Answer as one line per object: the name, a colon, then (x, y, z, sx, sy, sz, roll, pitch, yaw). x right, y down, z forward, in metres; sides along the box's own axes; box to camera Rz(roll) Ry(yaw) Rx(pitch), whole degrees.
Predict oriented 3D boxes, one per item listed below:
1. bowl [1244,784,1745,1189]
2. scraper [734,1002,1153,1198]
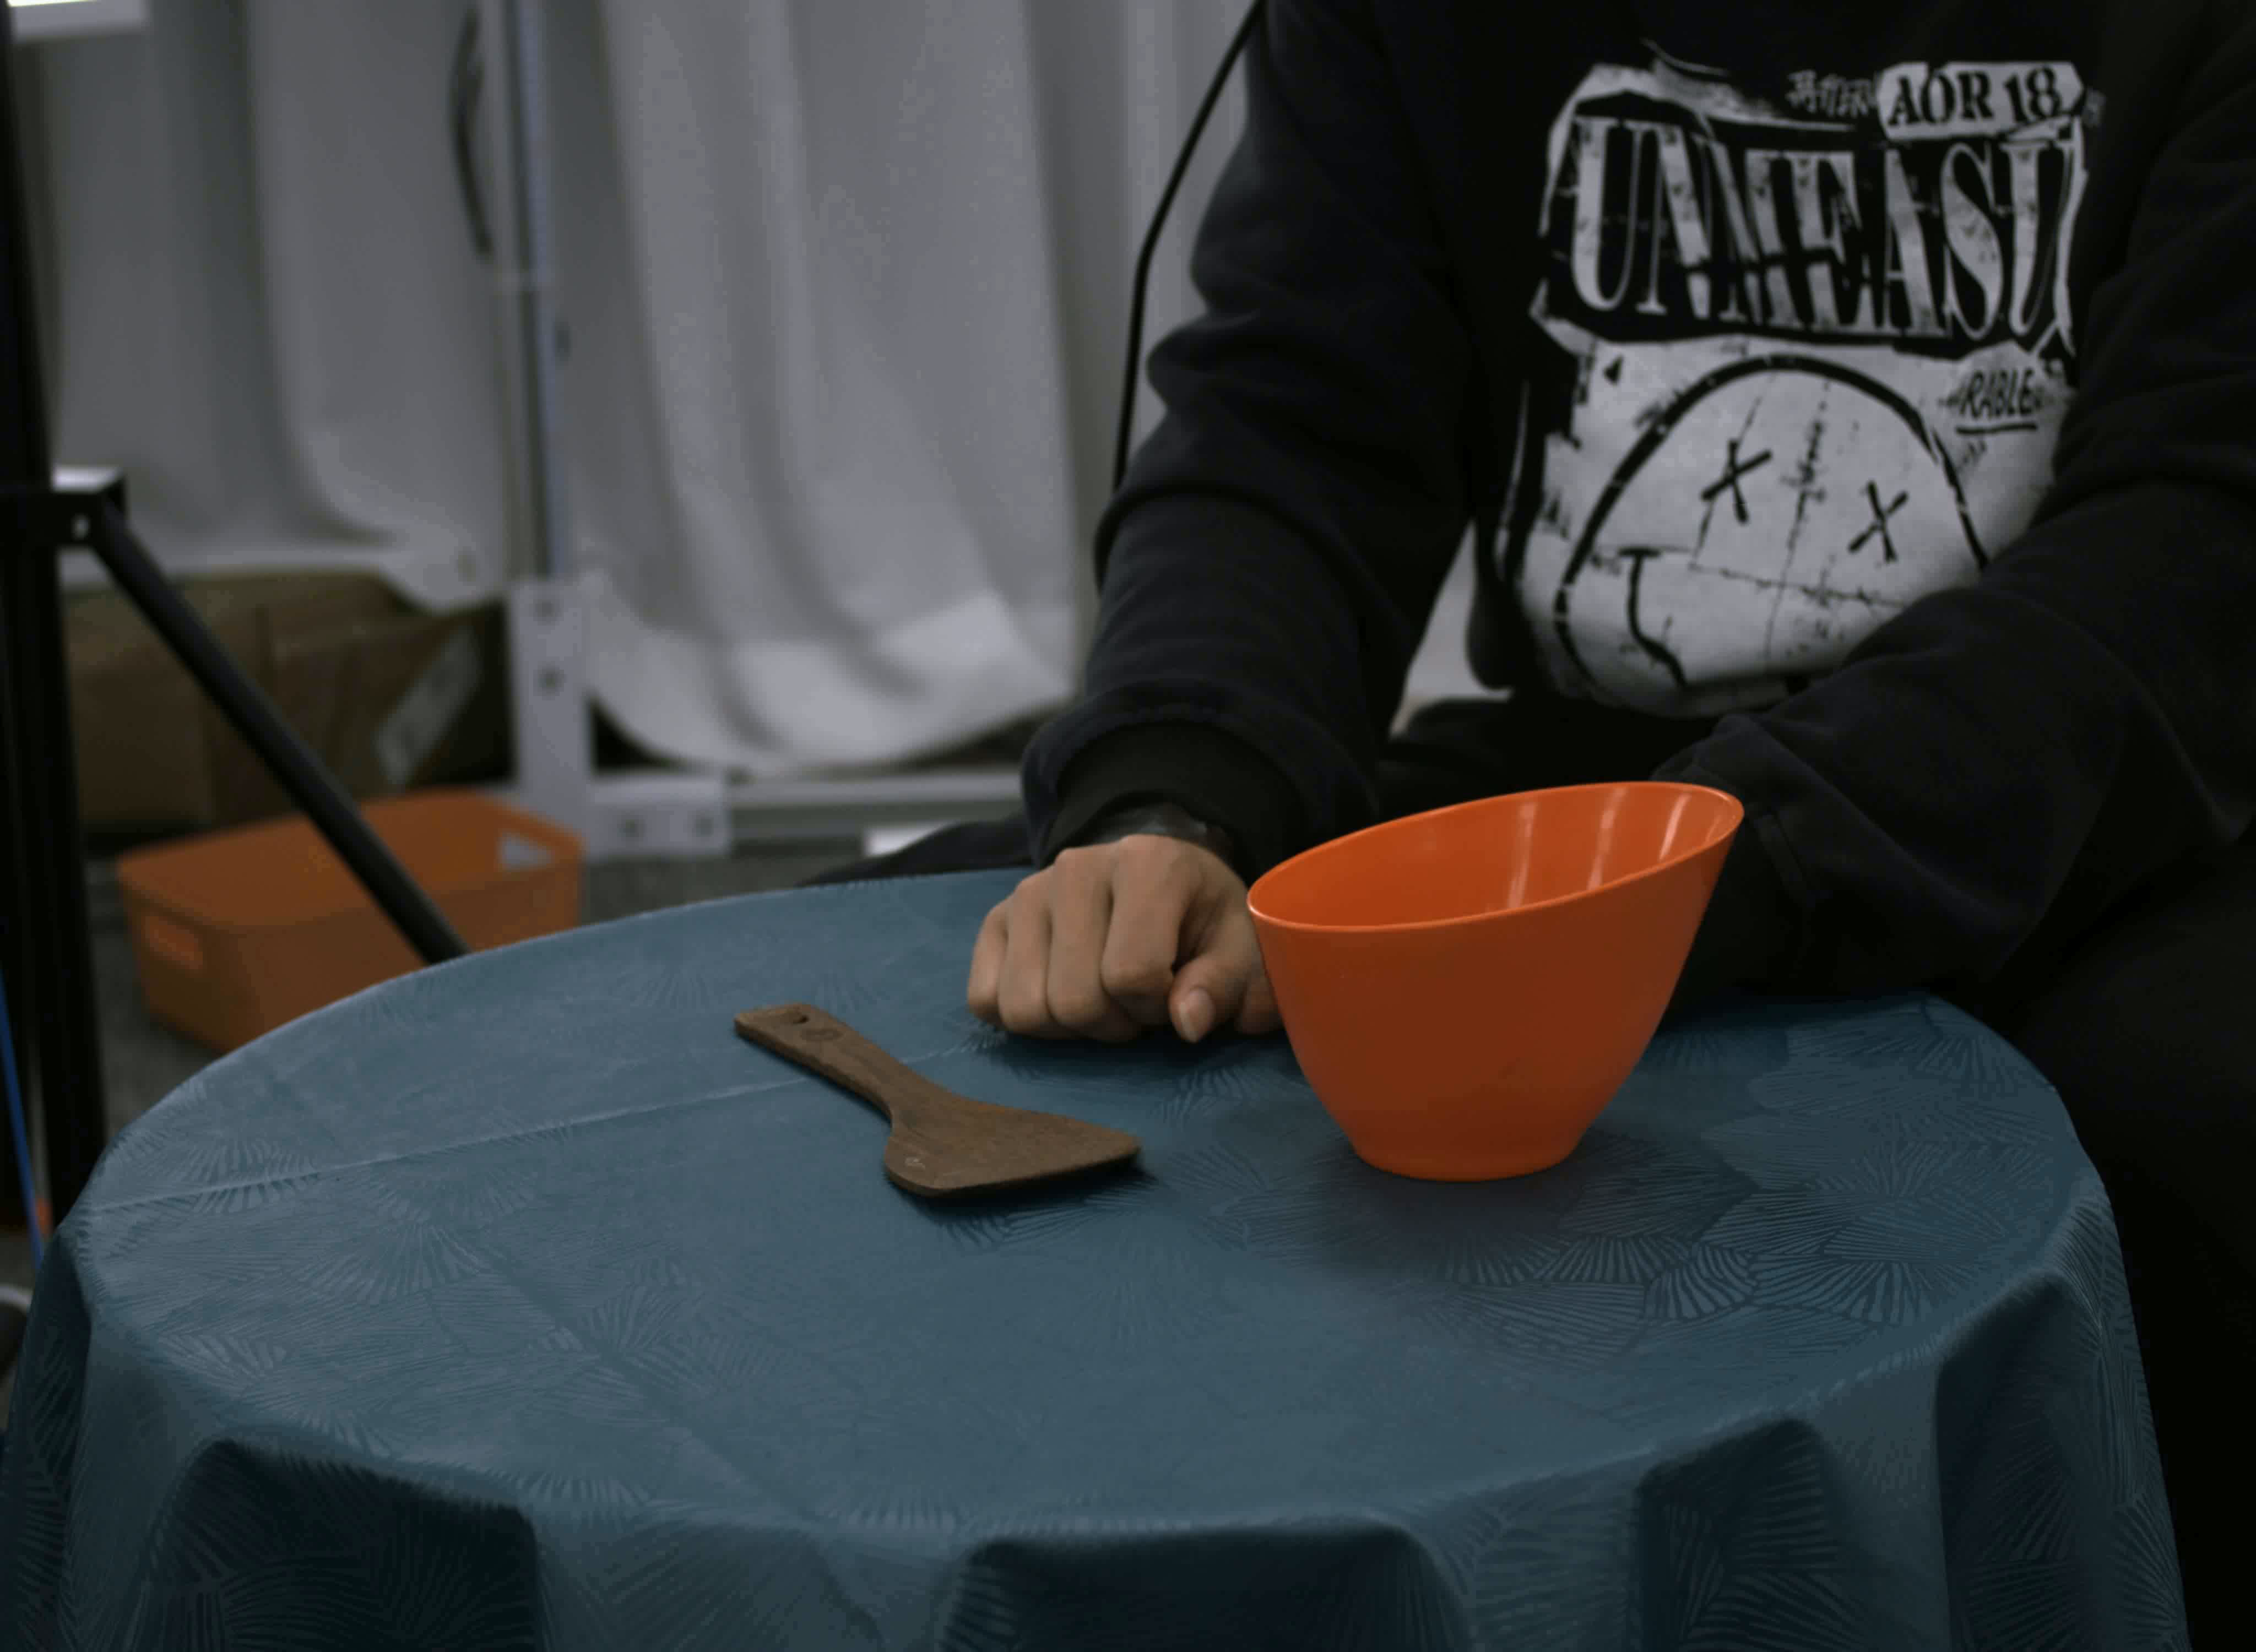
bowl: (0.108, 0.049, 1.565, 0.147, 0.104, 0.149, -3, 16, -1)
scraper: (-0.069, 0.083, 1.643, 0.074, 0.011, 0.215, -9, 16, -26)
